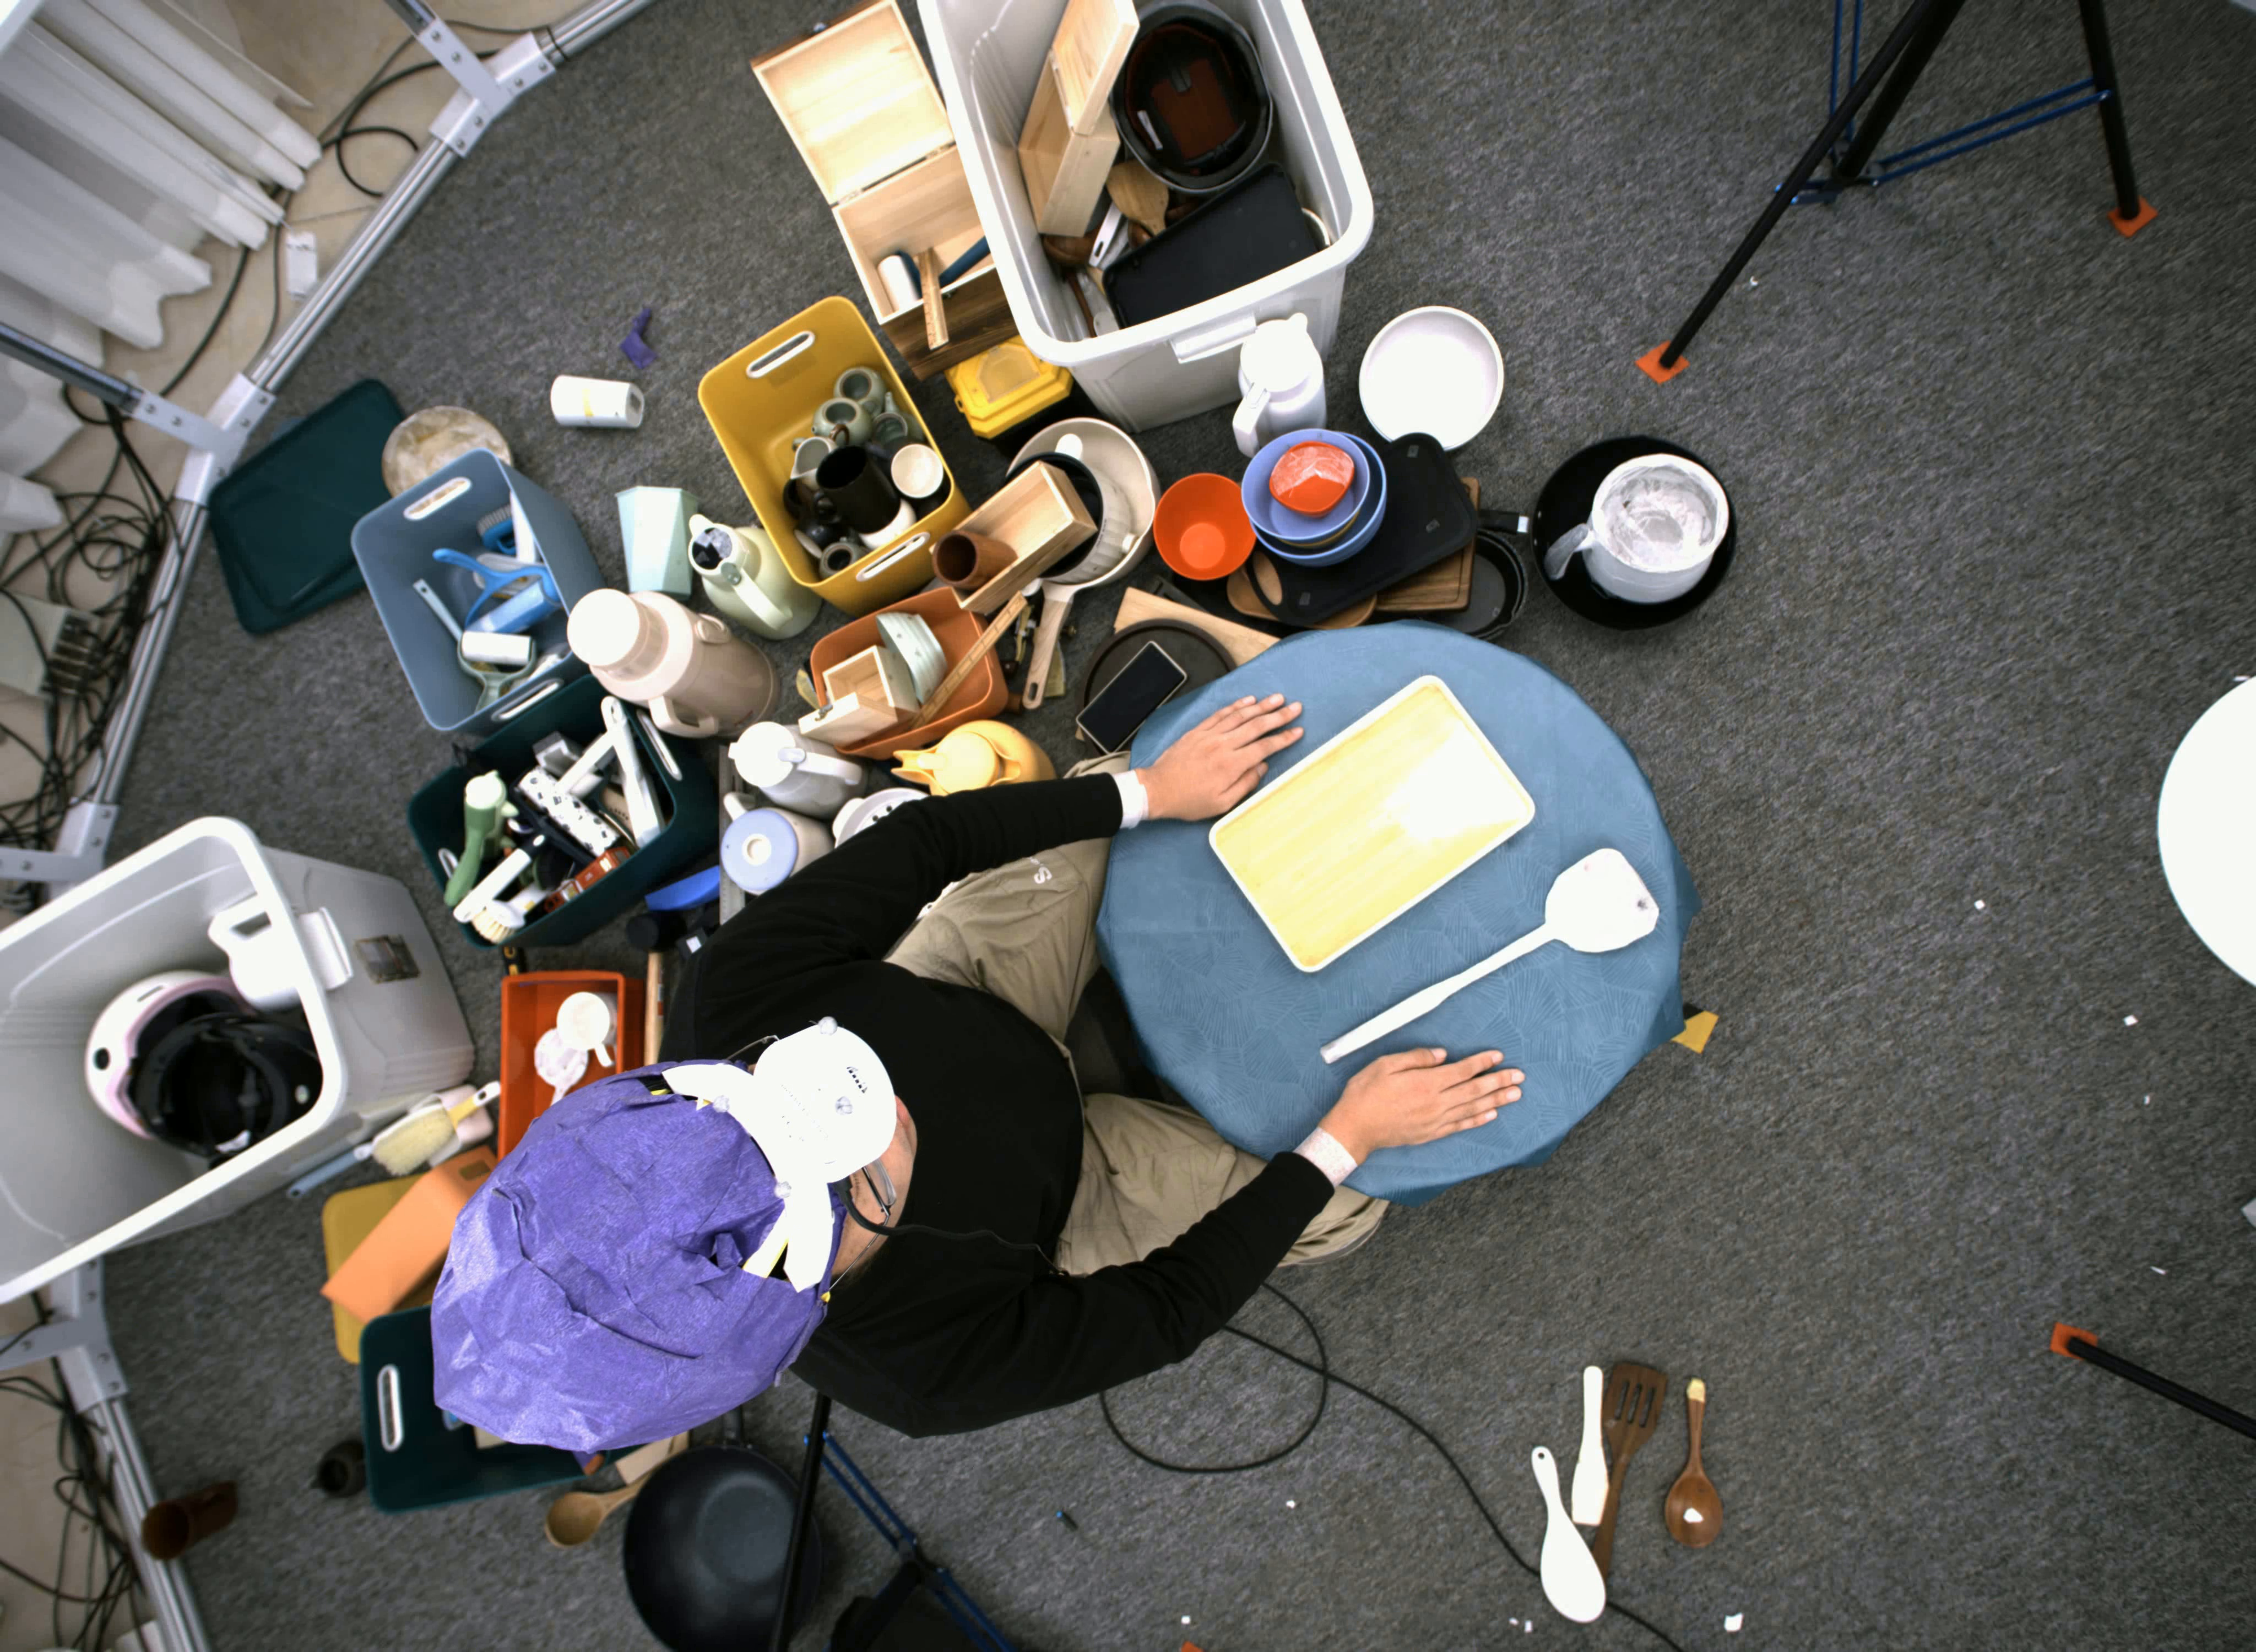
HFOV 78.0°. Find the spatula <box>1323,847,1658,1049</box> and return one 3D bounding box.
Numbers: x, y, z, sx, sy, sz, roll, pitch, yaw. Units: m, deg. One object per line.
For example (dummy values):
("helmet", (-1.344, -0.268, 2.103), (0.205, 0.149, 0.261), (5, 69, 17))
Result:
("spatula", (0.365, 0.142, 1.419), (0.367, 0.045, 0.098), (-30, 82, 7))

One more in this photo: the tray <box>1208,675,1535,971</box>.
("tray", (0.254, -0.004, 1.454), (0.302, 0.027, 0.190), (-35, 81, 7))
